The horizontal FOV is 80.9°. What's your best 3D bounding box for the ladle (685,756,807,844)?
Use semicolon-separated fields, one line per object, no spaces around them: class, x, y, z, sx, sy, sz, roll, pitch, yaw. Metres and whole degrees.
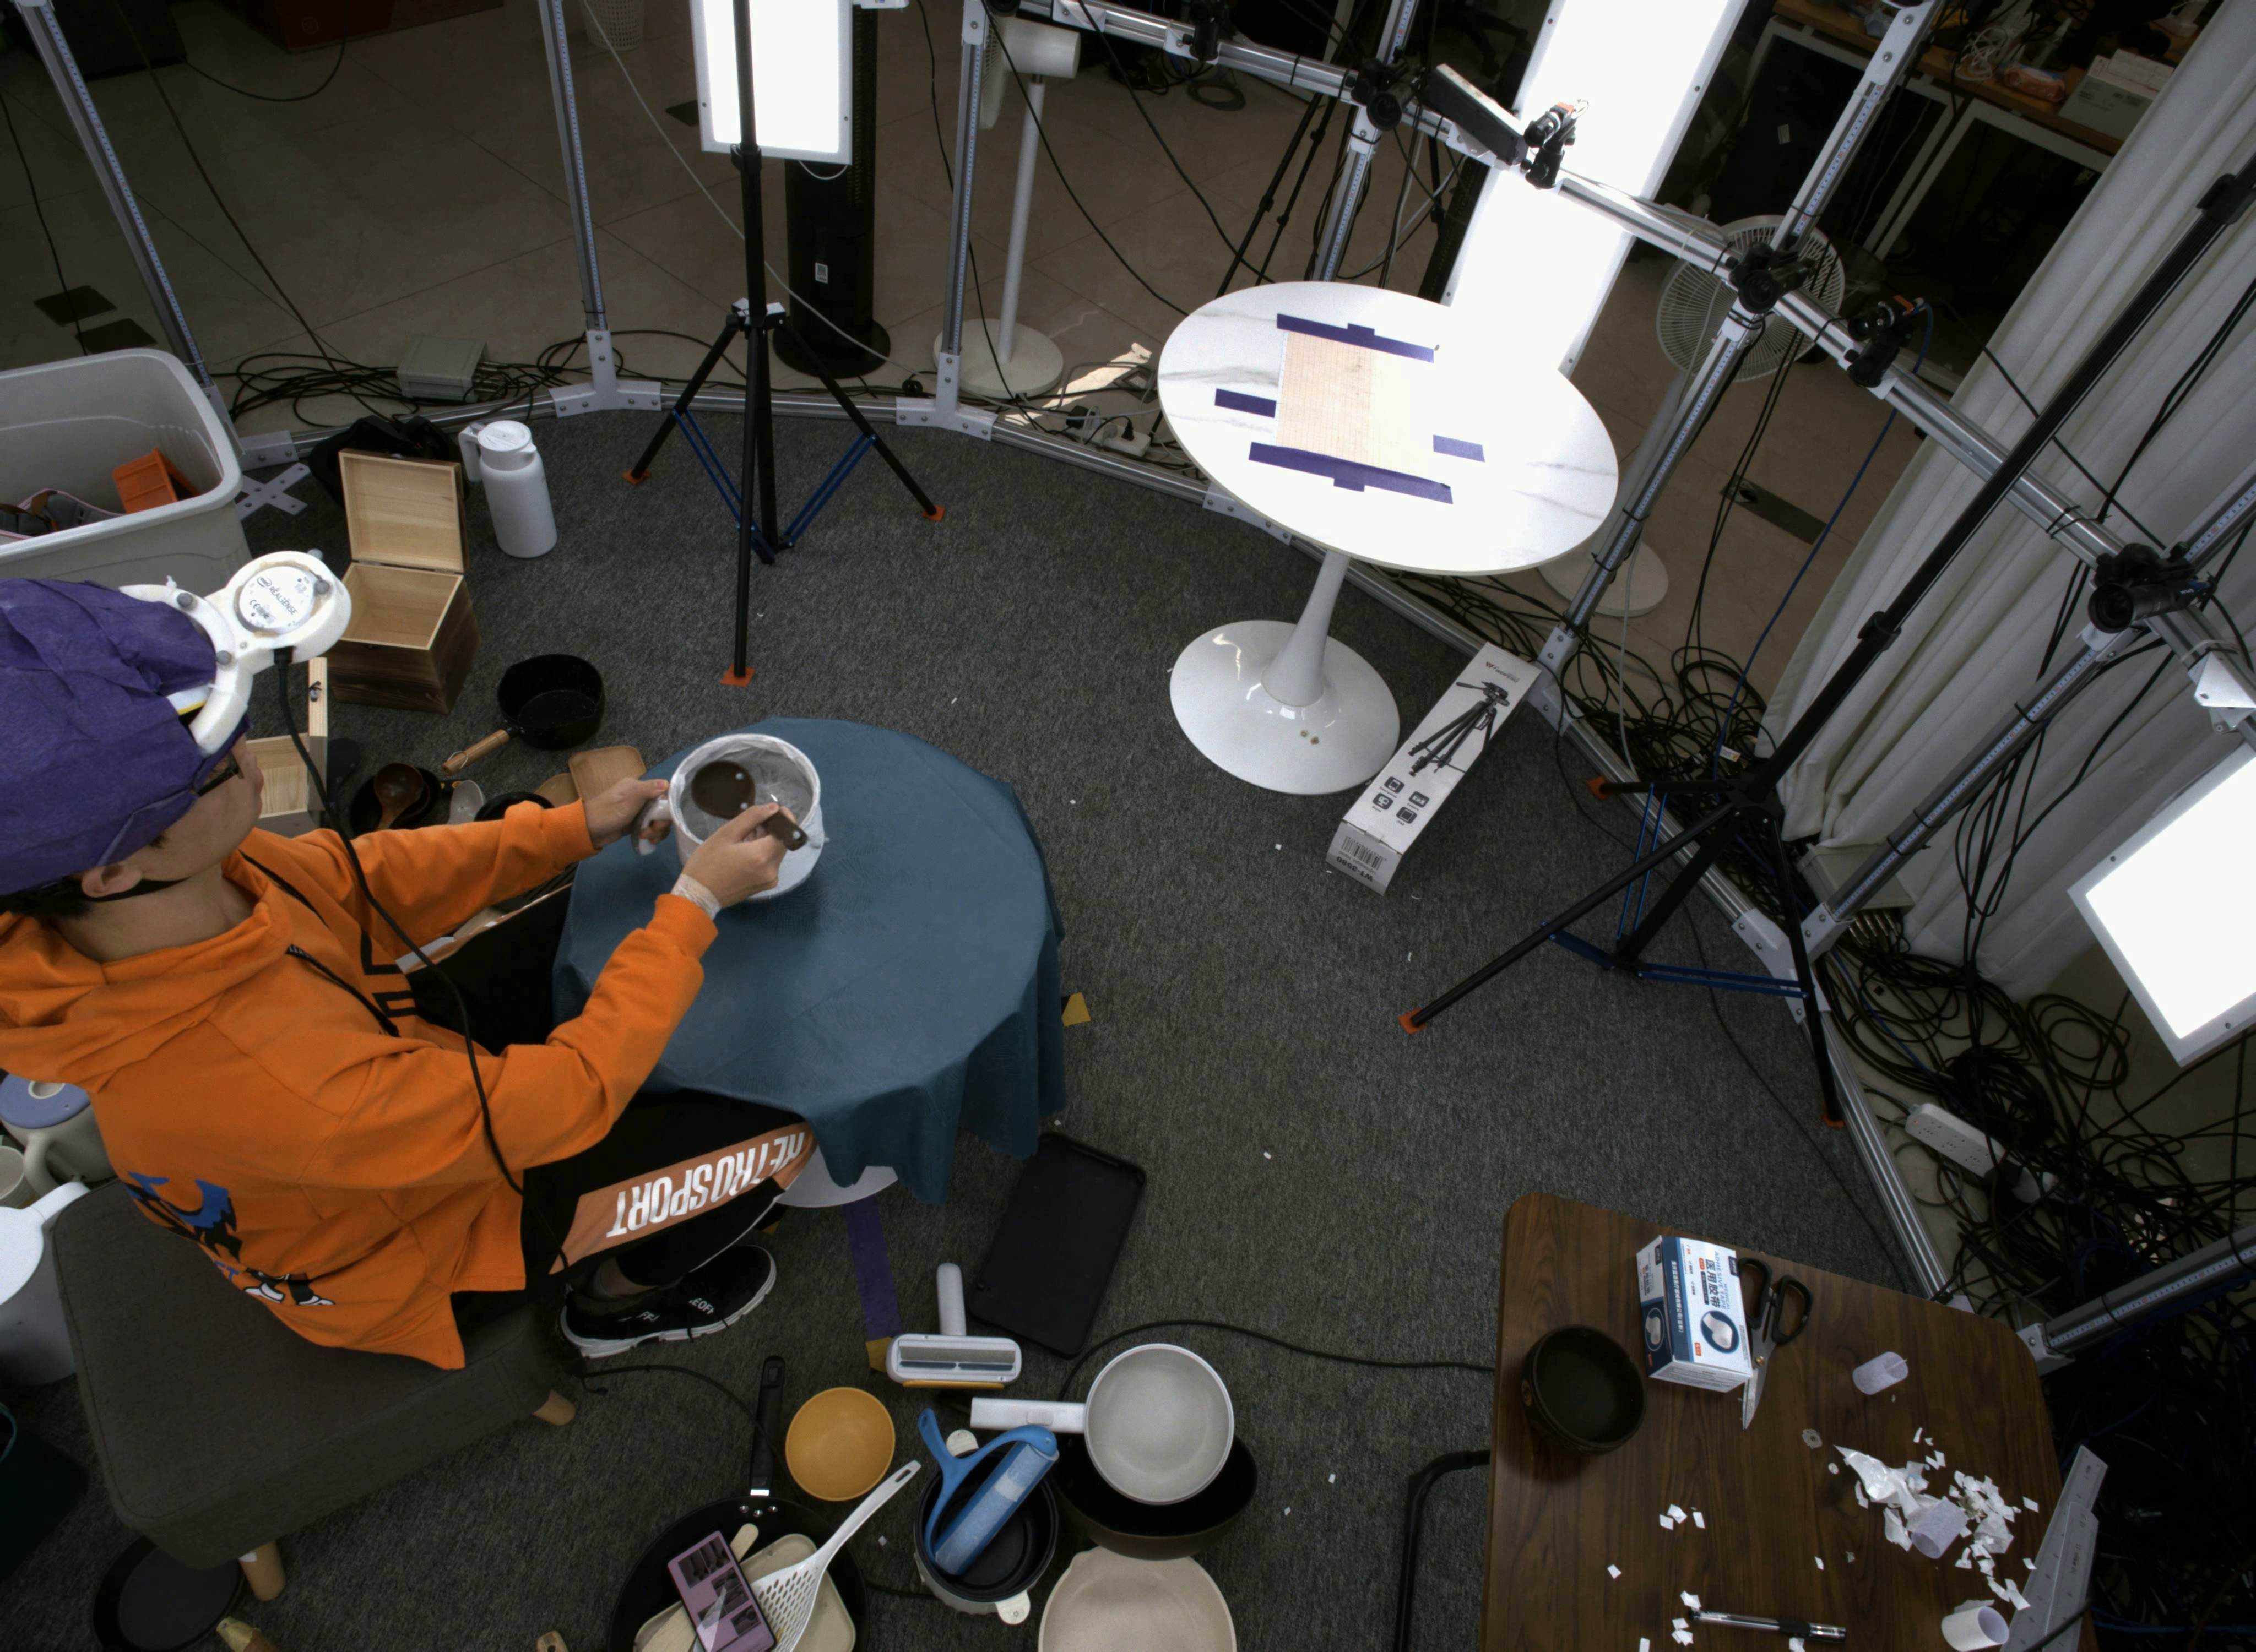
ladle;-0.425;-0.033;1.429;0.076;0.074;0.265;-38;26;-23

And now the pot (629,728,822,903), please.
pot;-0.489;-0.008;1.559;0.234;0.139;0.175;-2;56;-14
